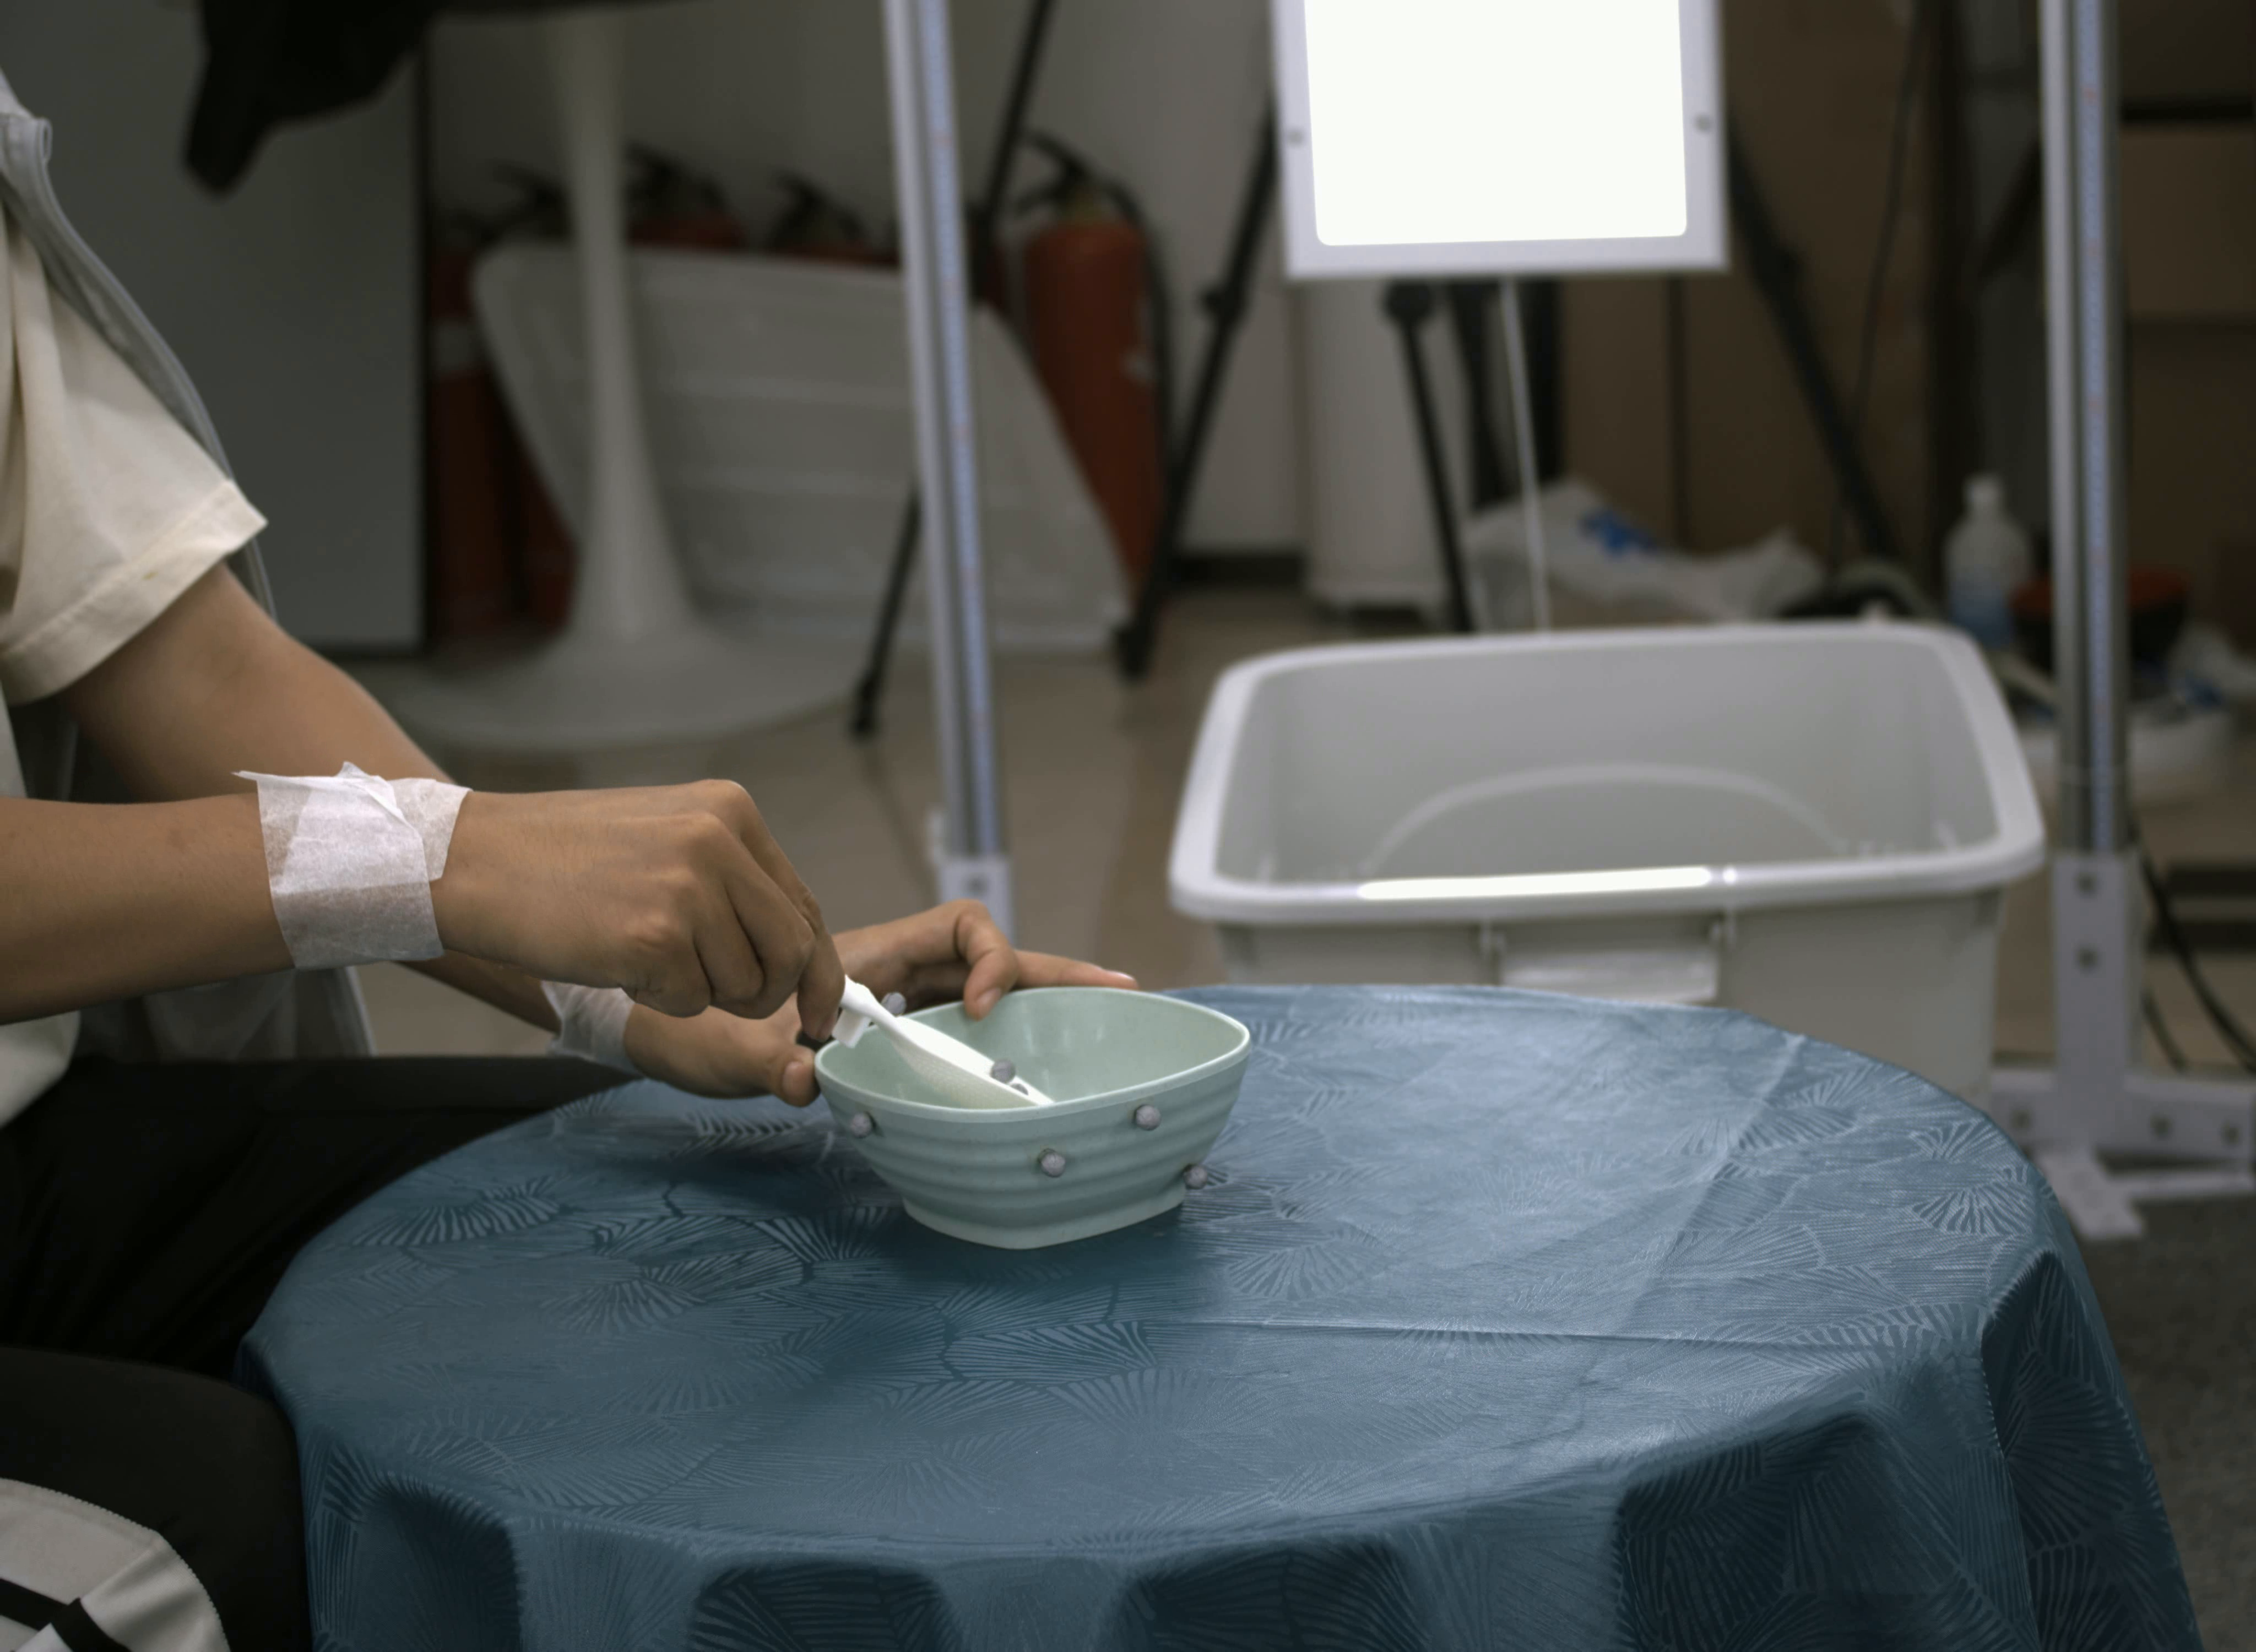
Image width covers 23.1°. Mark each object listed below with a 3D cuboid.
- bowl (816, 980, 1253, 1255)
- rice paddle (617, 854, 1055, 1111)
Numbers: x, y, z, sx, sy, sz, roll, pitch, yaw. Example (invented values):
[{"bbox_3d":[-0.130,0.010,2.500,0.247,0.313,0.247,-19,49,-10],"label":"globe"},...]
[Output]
[{"bbox_3d":[-0.030,0.103,1.887,0.151,0.059,0.151,-5,16,0],"label":"bowl"},{"bbox_3d":[-0.087,0.061,1.849,0.201,0.029,0.070,30,3,-38],"label":"rice paddle"}]
